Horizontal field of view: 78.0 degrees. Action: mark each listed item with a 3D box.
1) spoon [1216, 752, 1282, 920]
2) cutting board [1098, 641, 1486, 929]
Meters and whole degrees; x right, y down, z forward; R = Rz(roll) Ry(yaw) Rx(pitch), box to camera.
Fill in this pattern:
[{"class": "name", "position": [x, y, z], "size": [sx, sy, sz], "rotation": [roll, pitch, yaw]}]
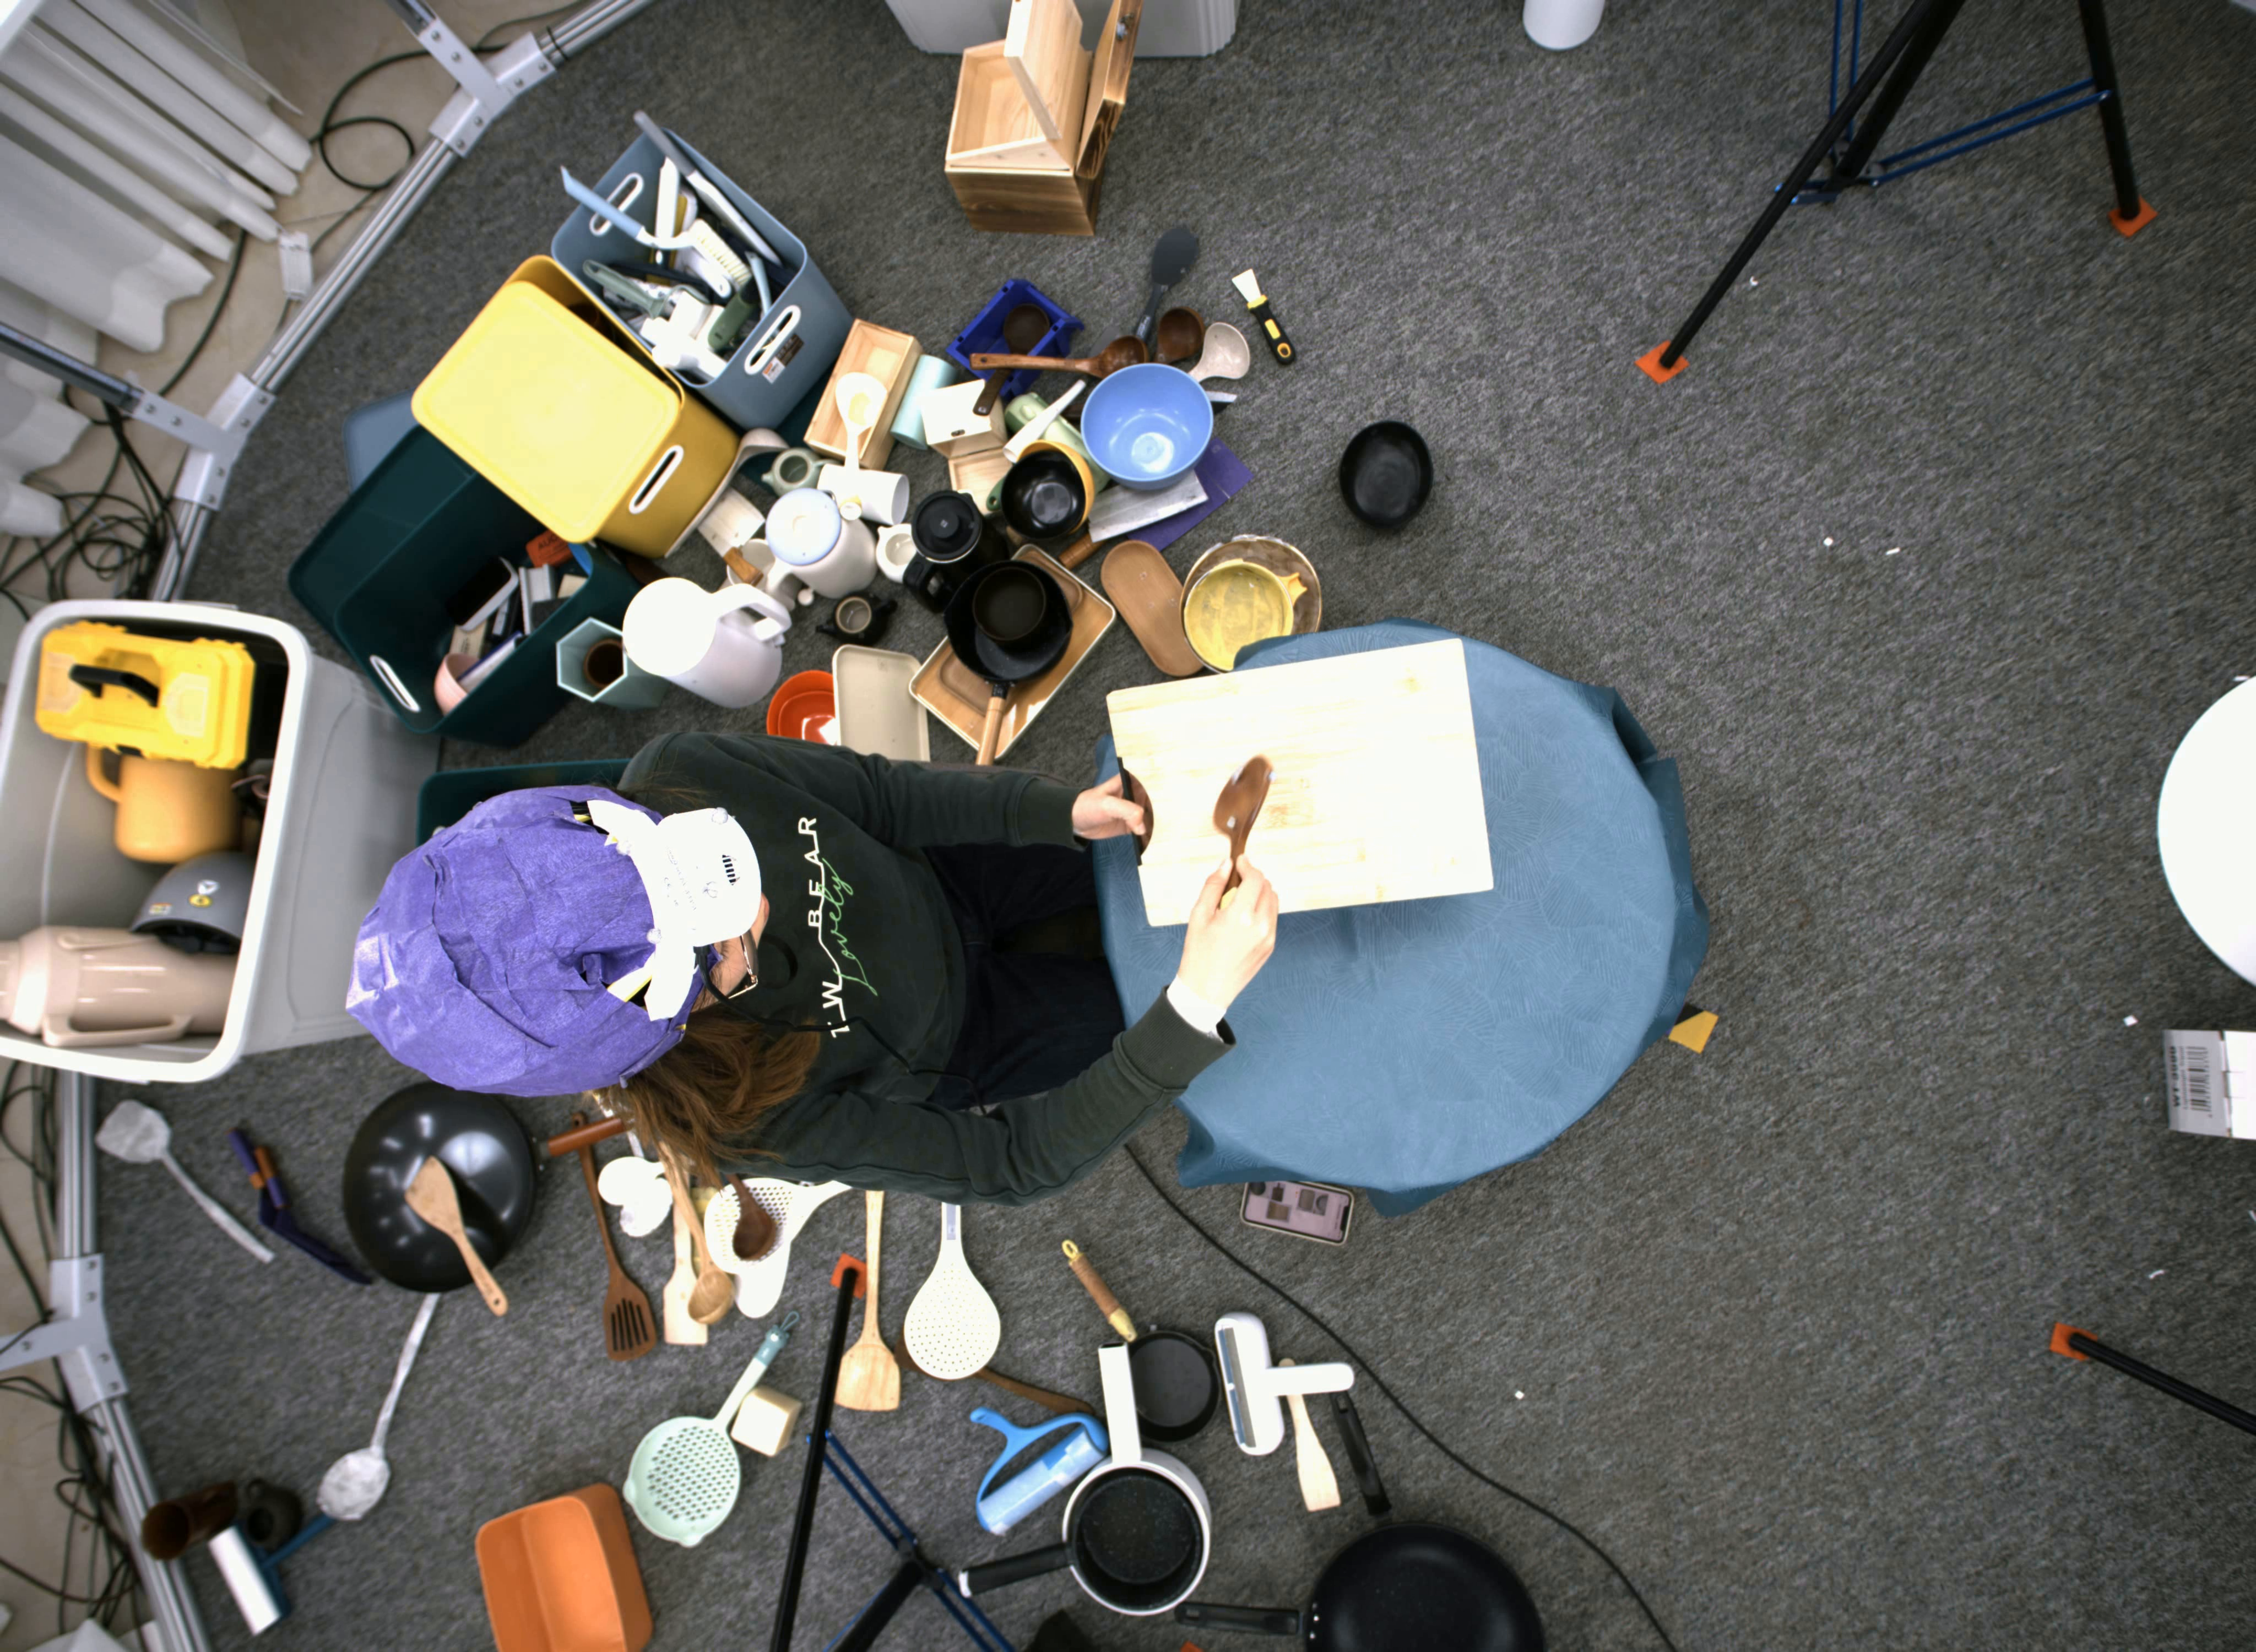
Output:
[{"class": "spoon", "position": [0.102, 0.007, 1.215], "size": [0.017, 0.210, 0.077], "rotation": [40, 125, -20]}, {"class": "cutting board", "position": [0.161, -0.035, 1.333], "size": [0.351, 0.023, 0.253], "rotation": [-8, 104, 16]}]
